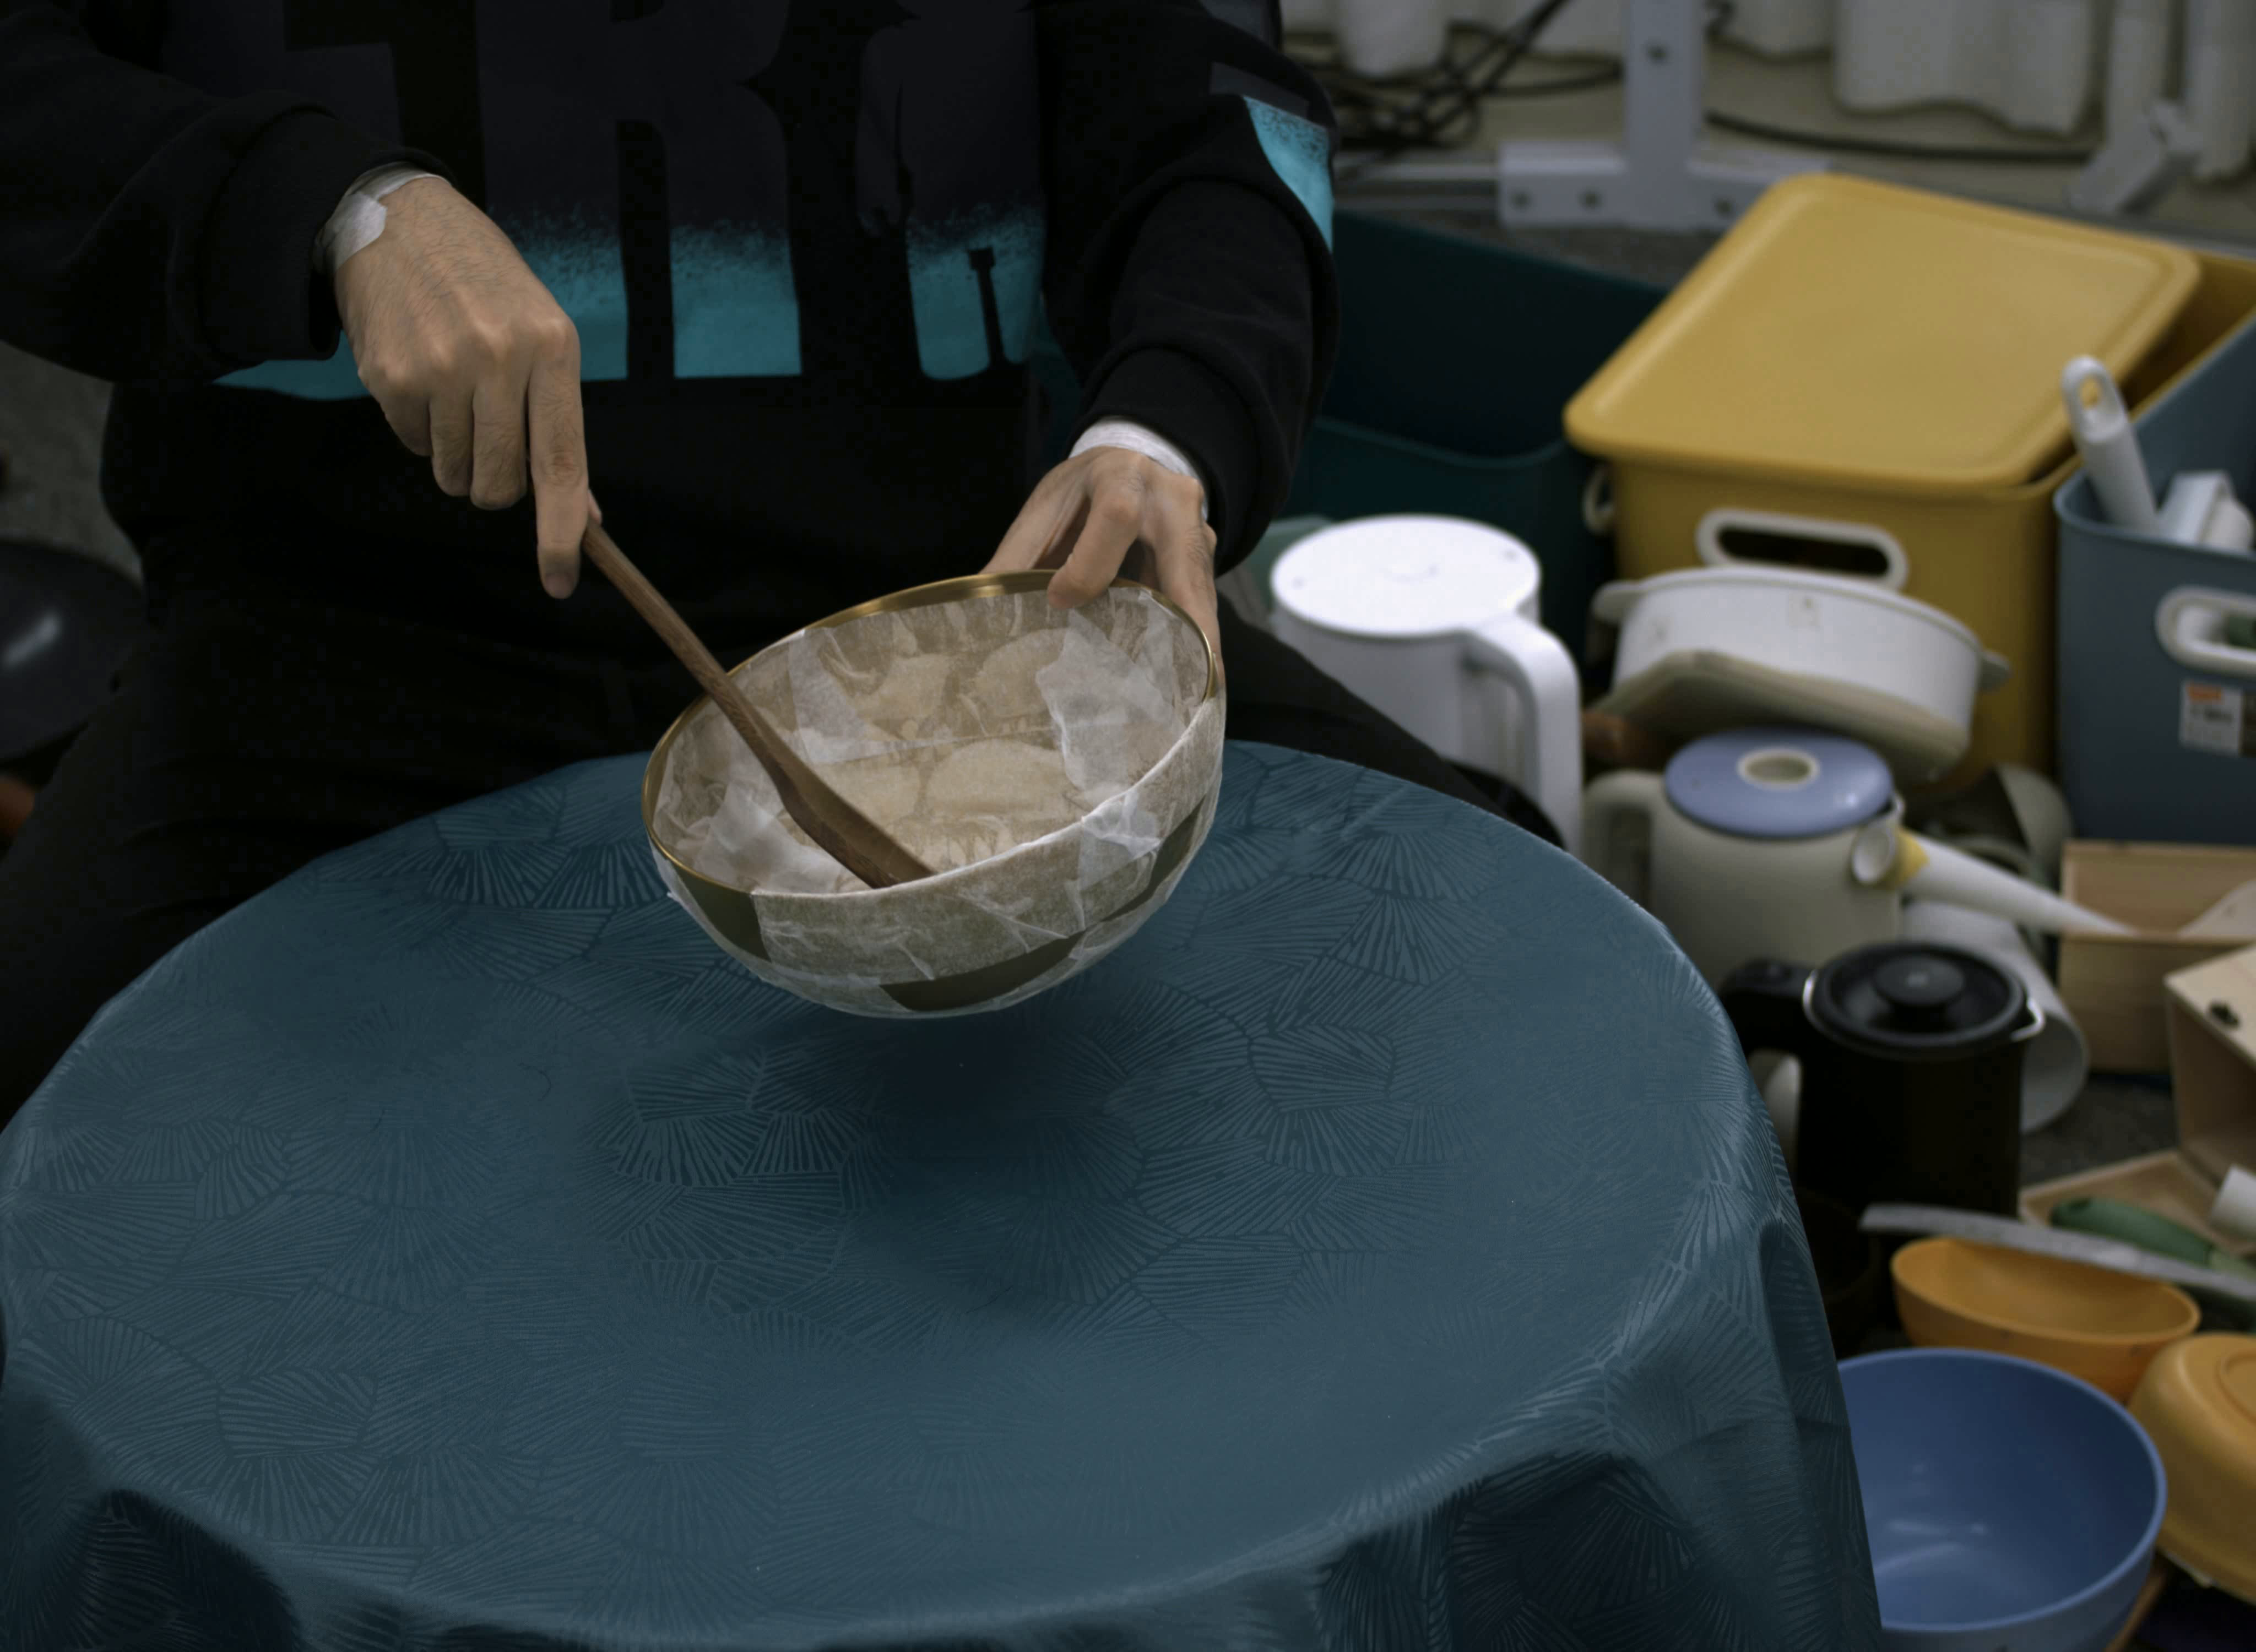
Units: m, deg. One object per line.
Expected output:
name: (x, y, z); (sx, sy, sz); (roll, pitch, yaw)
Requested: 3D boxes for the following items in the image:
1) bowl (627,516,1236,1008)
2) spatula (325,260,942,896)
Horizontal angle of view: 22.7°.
bowl: (-0.057, -0.008, 1.897); (0.213, 0.093, 0.219); (-10, 38, 8)
spatula: (-0.167, -0.078, 1.945); (0.388, 0.016, 0.095); (47, 5, 28)
